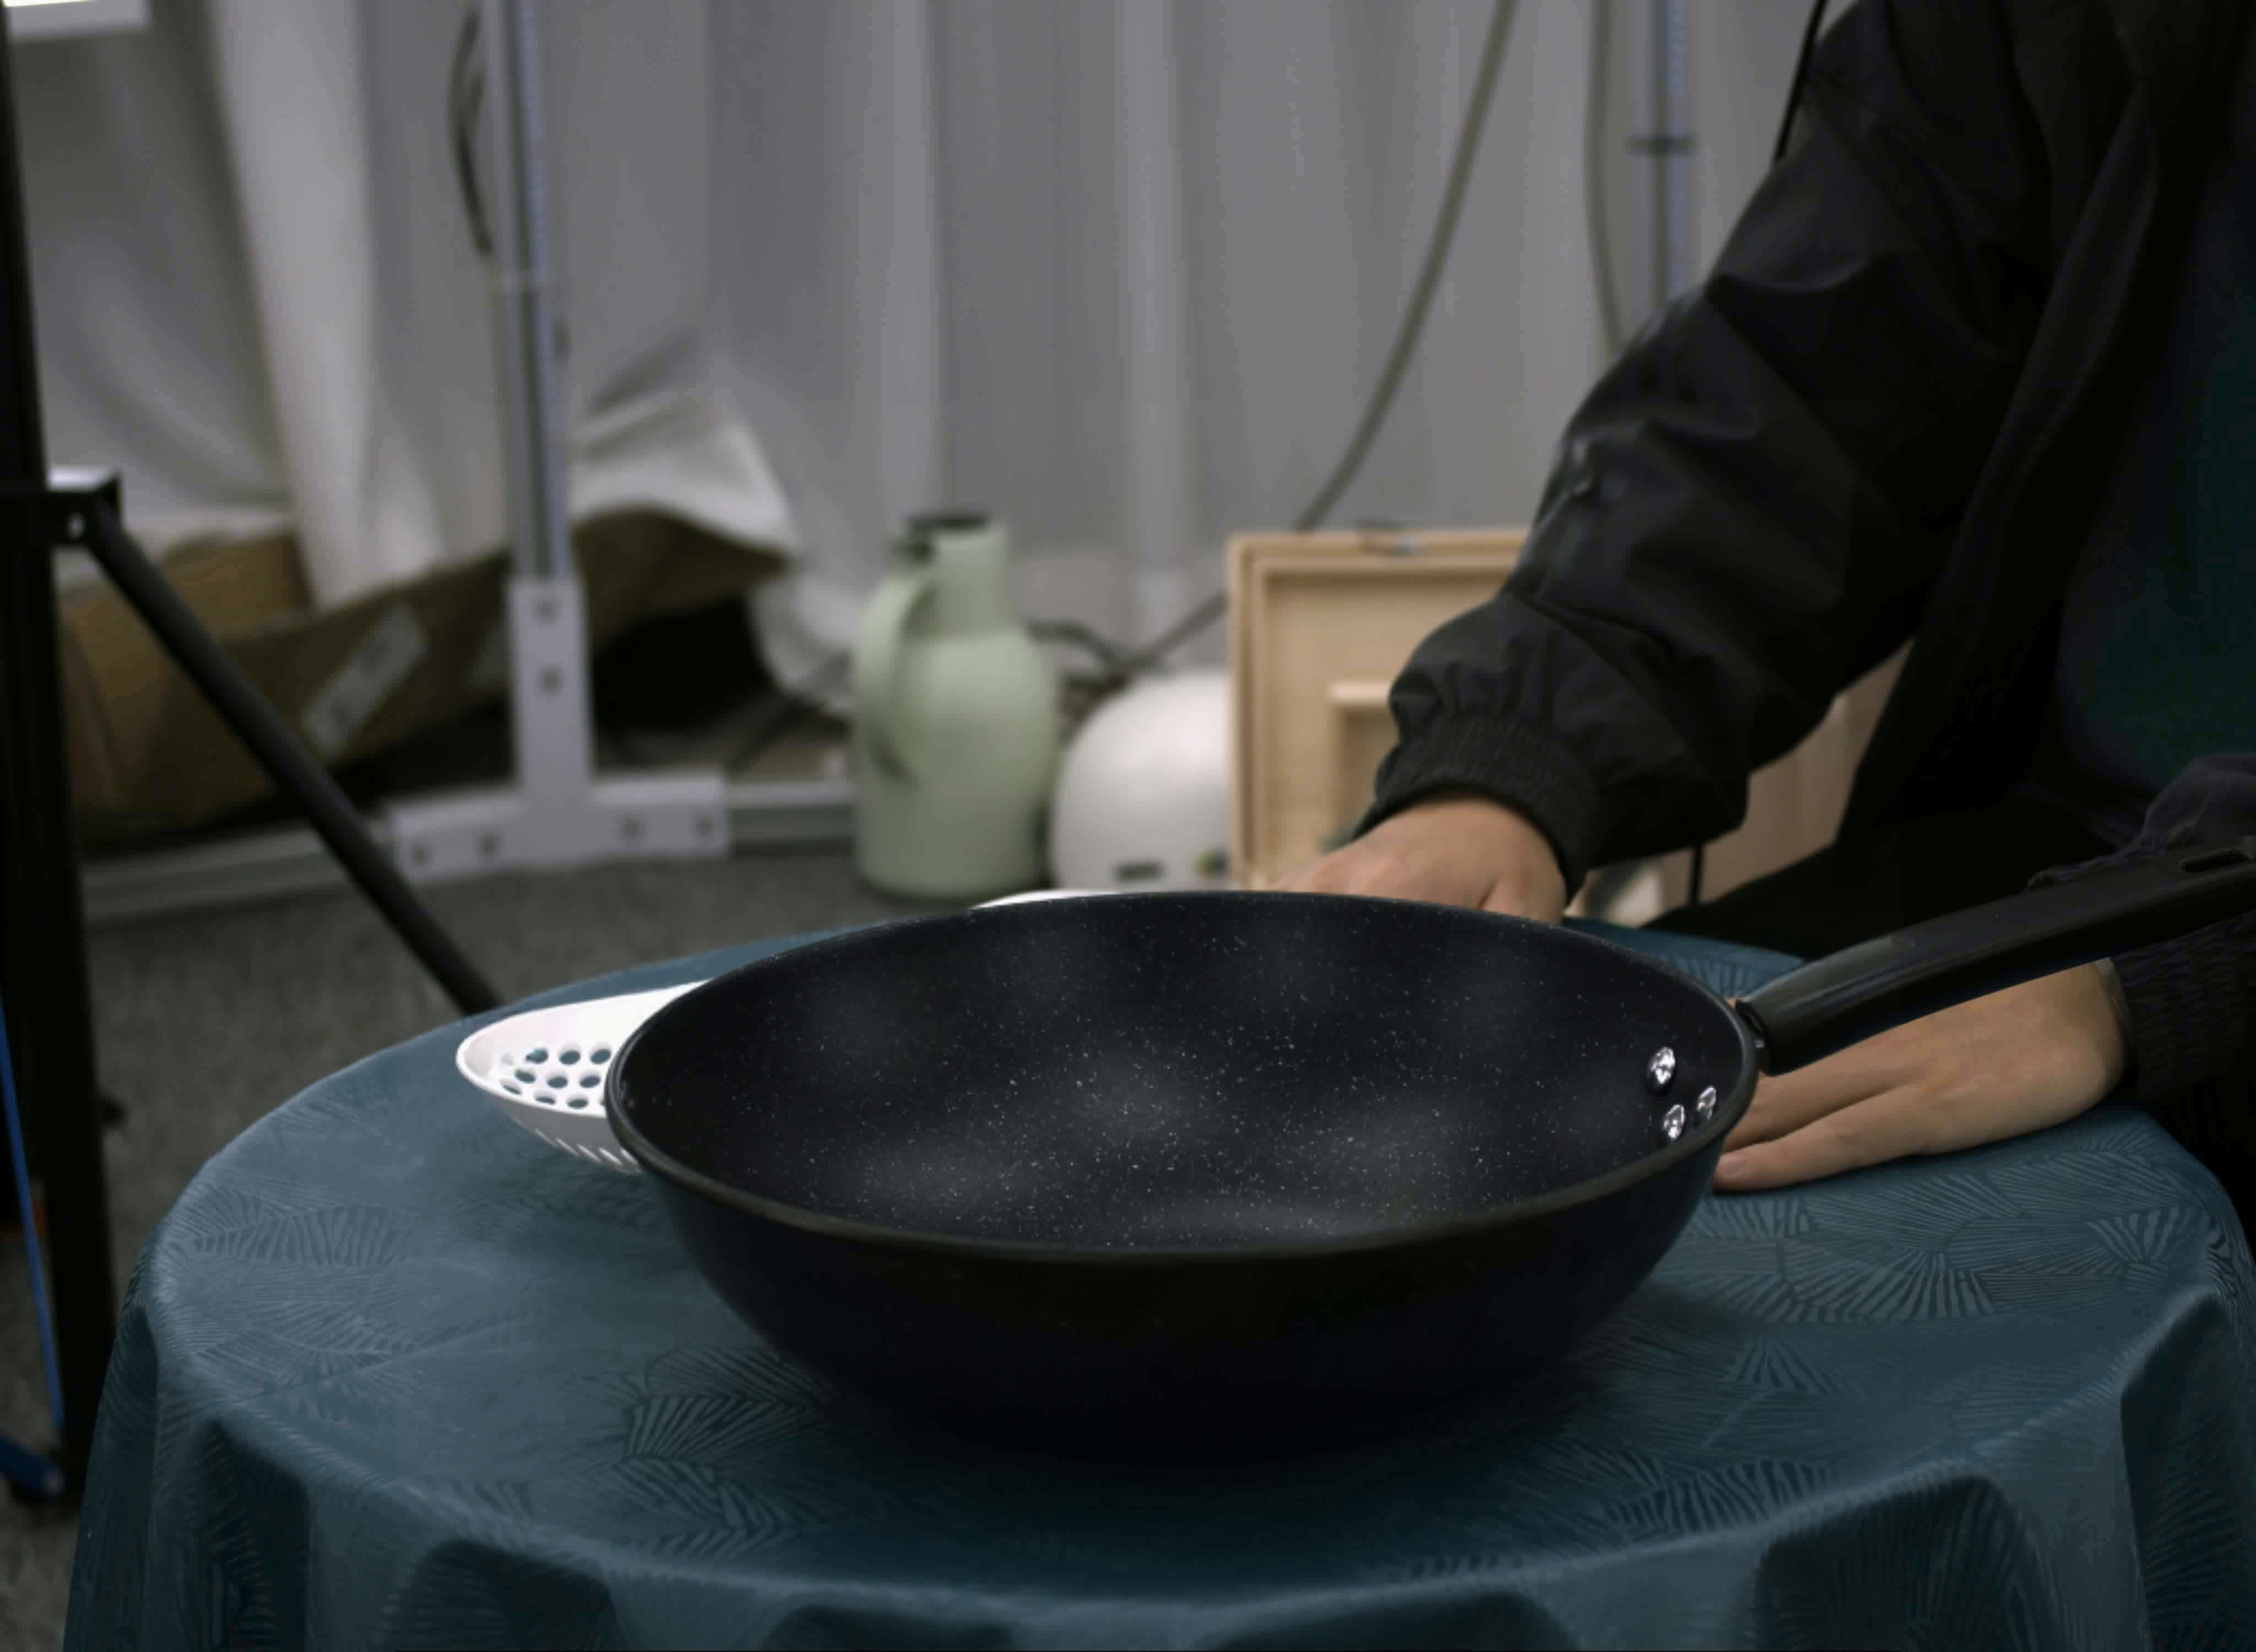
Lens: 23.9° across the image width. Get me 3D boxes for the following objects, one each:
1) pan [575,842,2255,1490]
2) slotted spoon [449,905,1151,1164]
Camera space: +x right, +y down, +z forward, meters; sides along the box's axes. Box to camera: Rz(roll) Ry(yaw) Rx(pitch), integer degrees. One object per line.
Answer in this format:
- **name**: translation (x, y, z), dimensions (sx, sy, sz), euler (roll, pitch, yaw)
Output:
- **pan**: translation (0.089, 0.085, 1.436), dimensions (0.470, 0.111, 0.314), euler (-6, 17, -11)
- **slotted spoon**: translation (-0.077, 0.055, 1.684), dimensions (0.139, 0.050, 0.341), euler (5, 17, 30)
